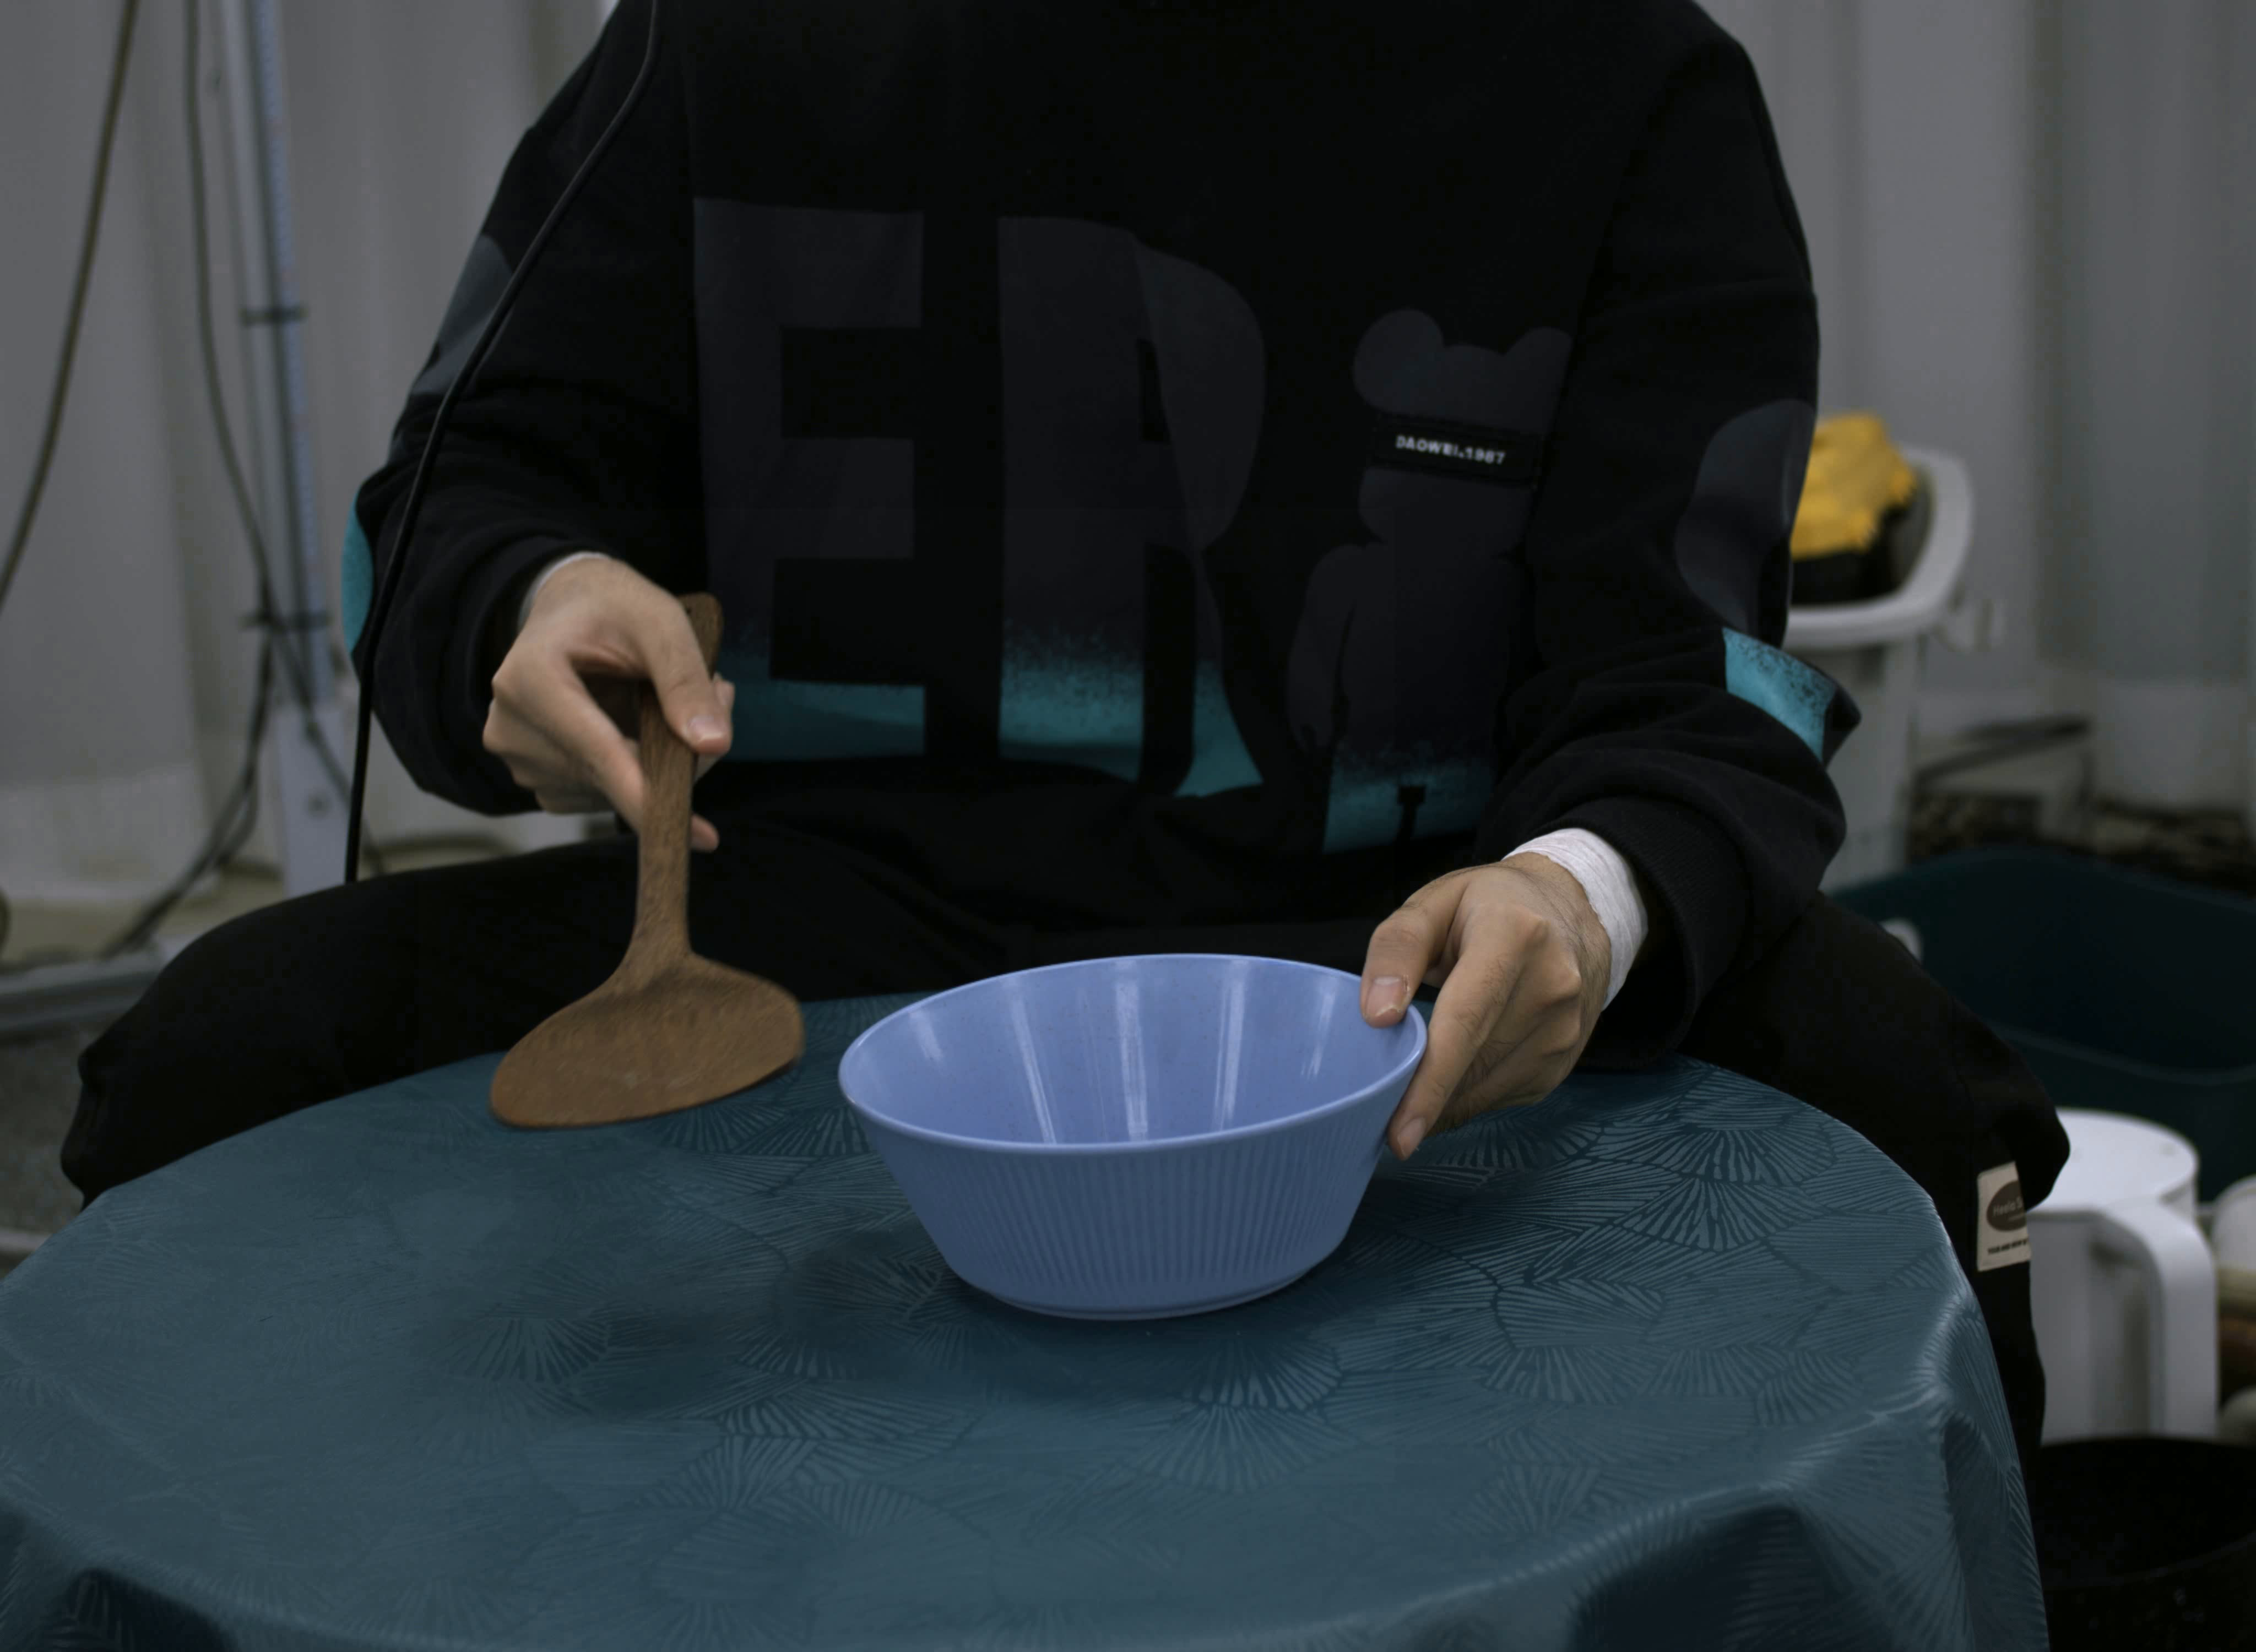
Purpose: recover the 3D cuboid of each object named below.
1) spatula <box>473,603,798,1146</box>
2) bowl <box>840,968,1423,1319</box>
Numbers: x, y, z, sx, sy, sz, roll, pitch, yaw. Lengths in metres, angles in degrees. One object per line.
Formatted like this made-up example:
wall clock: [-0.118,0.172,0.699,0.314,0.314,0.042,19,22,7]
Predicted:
spatula: [-0.149,0.006,1.737,0.096,0.015,0.390,-11,26,3]
bowl: [0.003,0.098,1.639,0.175,0.070,0.177,-3,15,1]
